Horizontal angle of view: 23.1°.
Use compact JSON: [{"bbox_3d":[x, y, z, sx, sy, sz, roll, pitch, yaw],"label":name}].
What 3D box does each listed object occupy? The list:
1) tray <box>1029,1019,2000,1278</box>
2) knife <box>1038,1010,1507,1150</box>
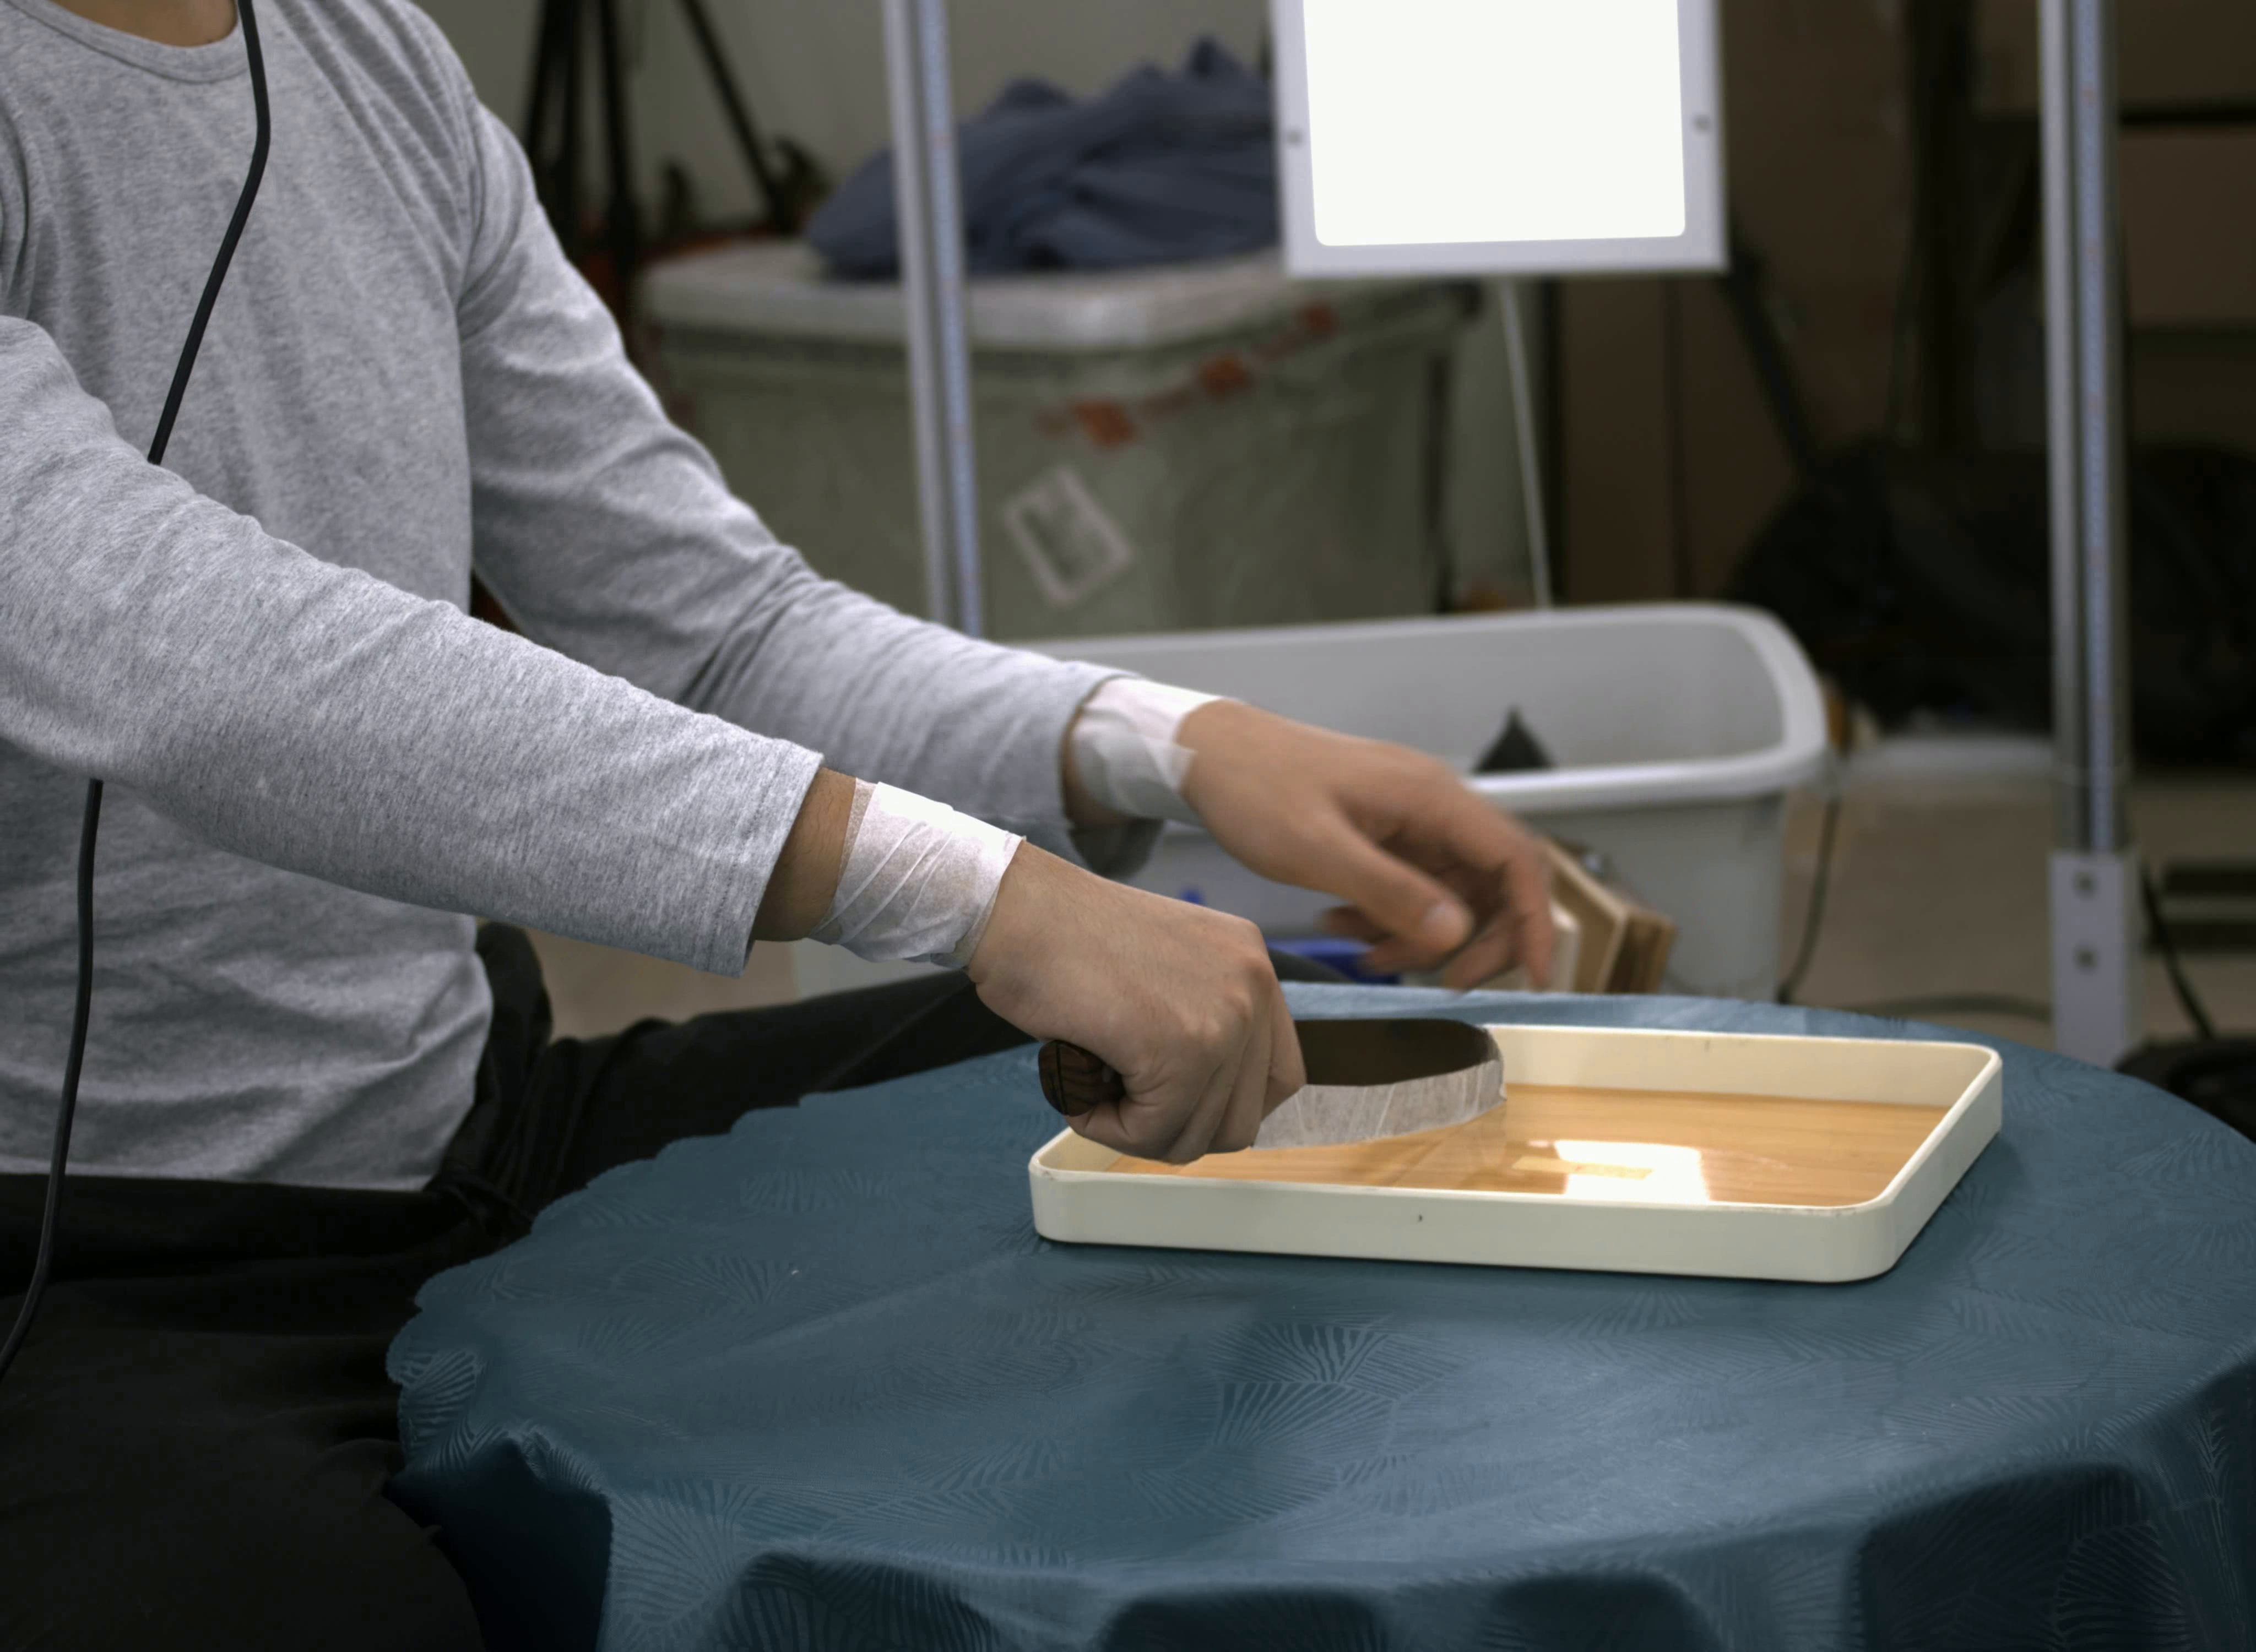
[{"bbox_3d":[0.135,0.108,1.874,0.305,0.027,0.188,1,15,24],"label":"tray"},{"bbox_3d":[0.056,0.083,1.831,0.020,0.050,0.282,13,4,34],"label":"knife"}]
